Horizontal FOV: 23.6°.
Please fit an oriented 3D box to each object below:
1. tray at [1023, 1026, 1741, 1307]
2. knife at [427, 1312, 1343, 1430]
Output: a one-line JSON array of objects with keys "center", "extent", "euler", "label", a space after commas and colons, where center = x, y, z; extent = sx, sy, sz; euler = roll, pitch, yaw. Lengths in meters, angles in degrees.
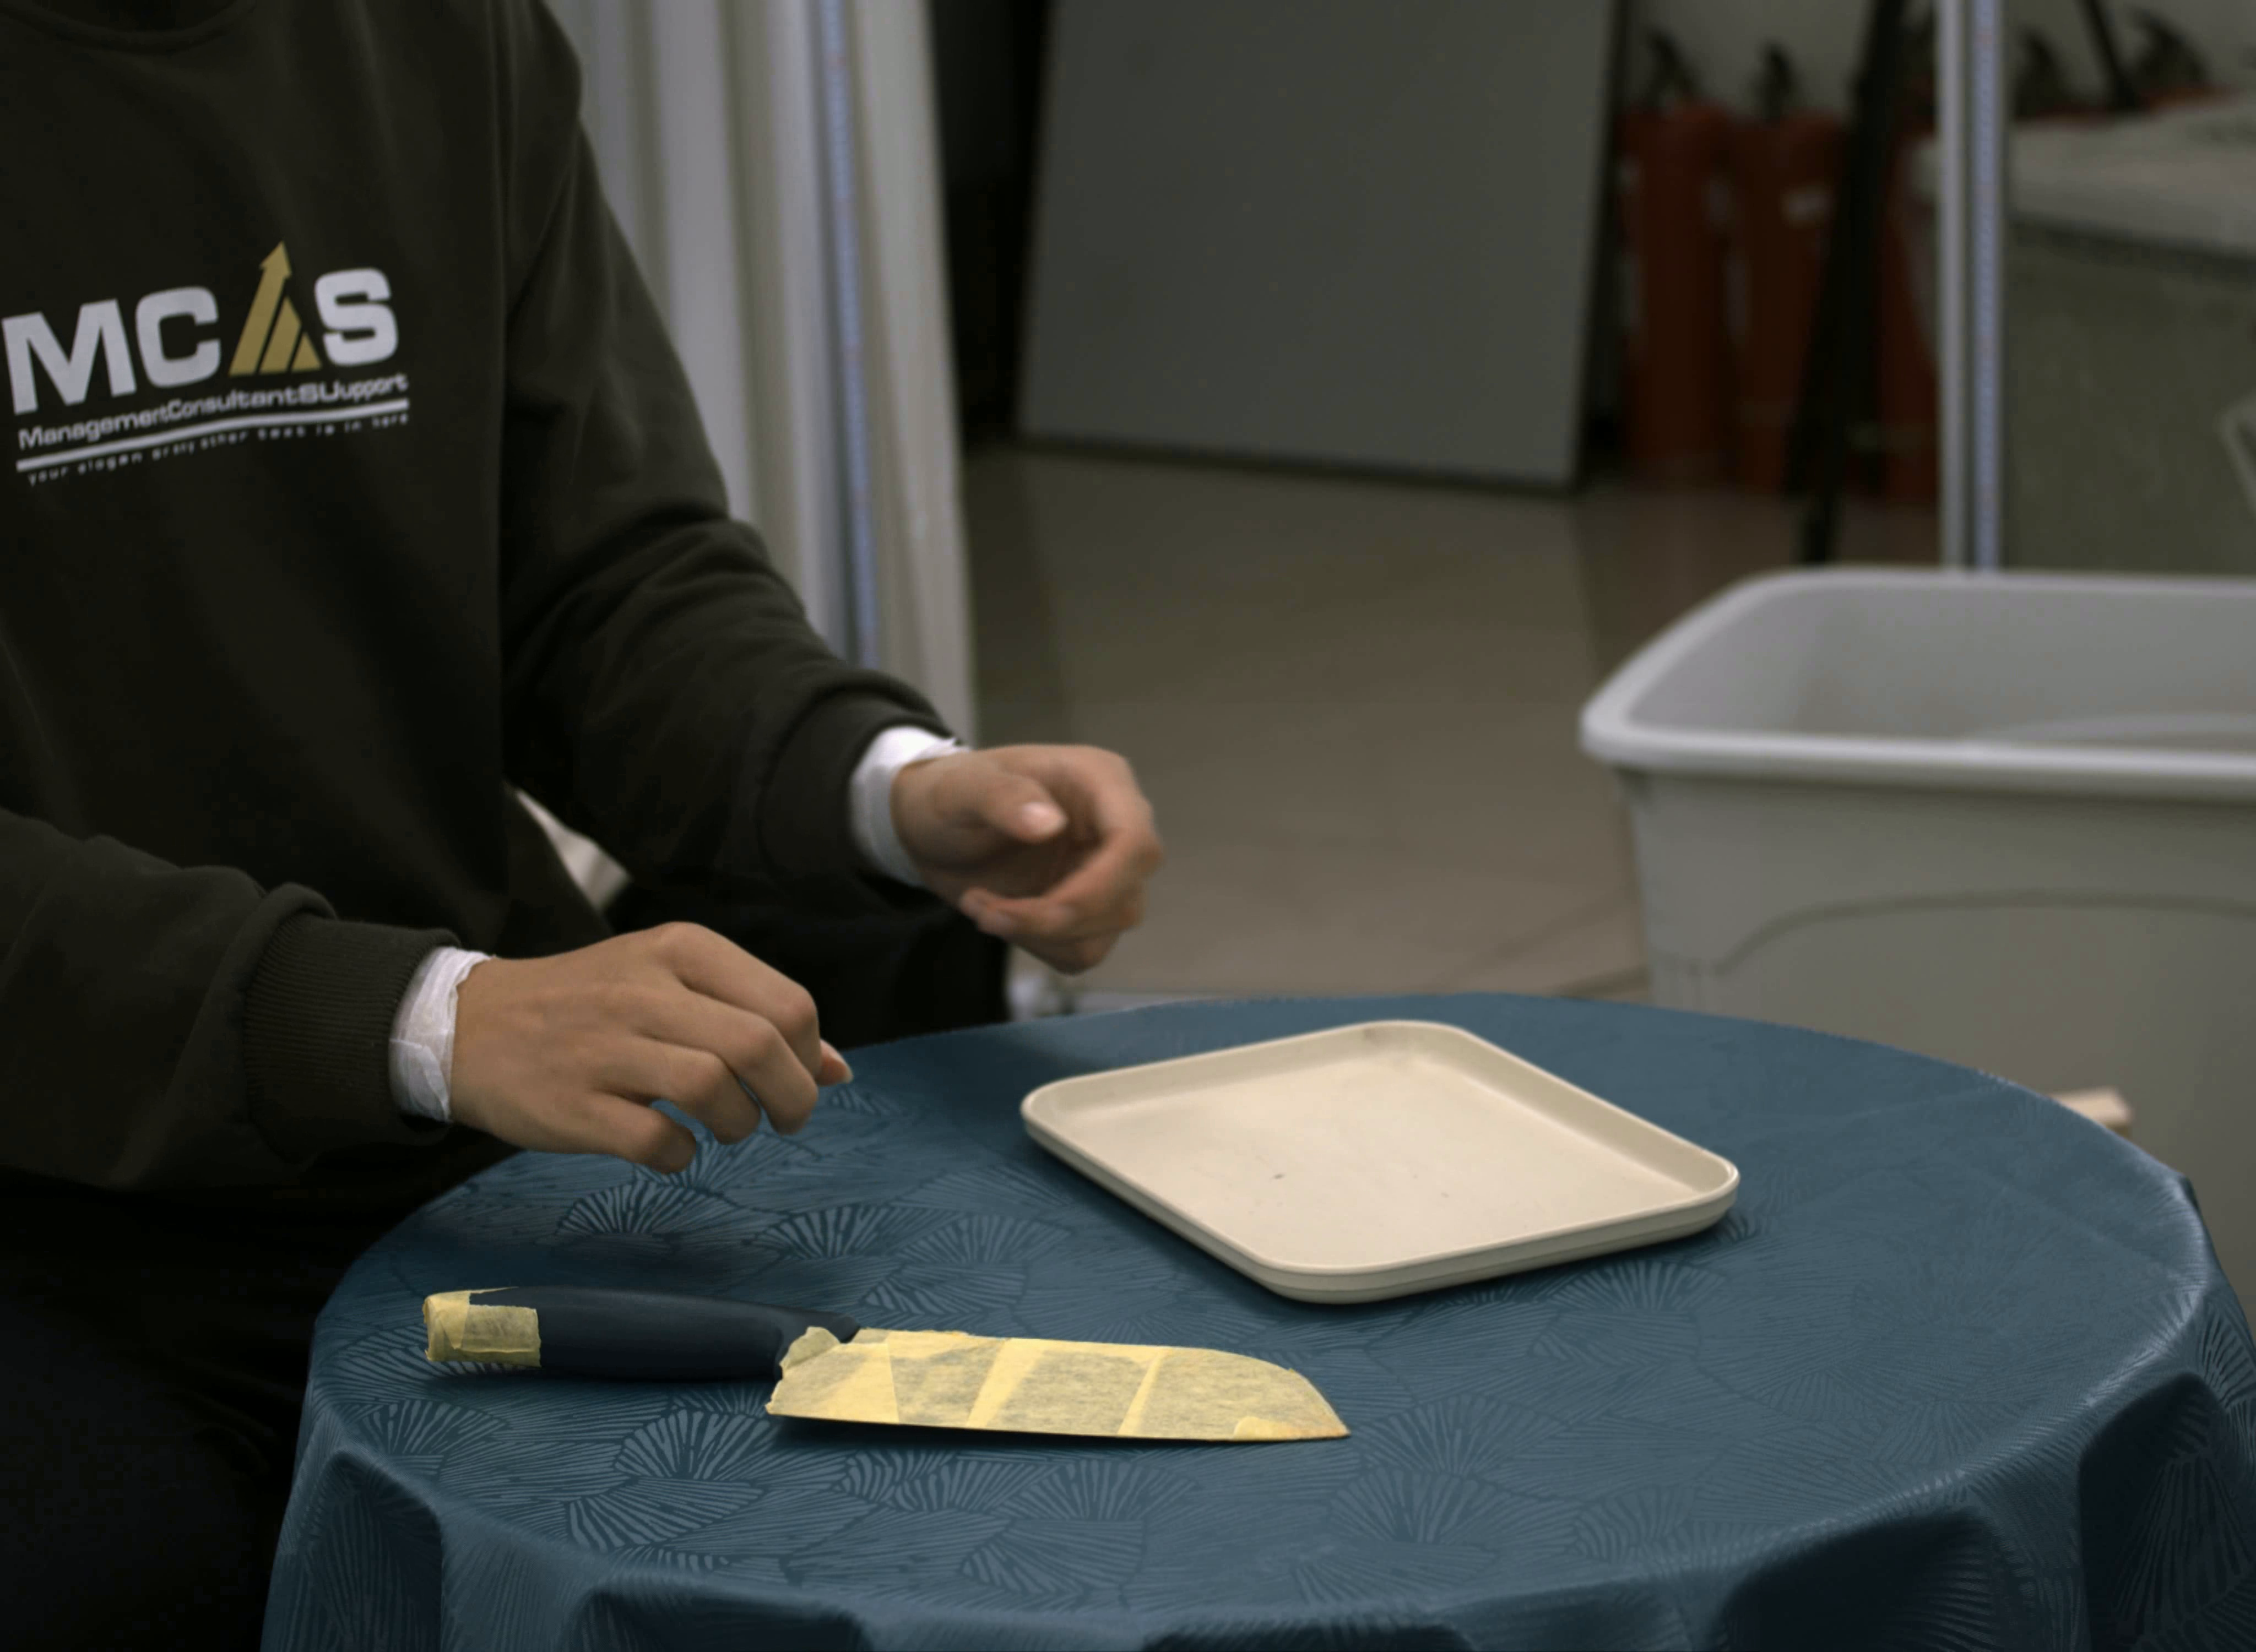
[{"center": [0.080, 0.110, 1.761], "extent": [0.167, 0.017, 0.242], "euler": [-10, 15, -22], "label": "tray"}, {"center": [-0.075, 0.164, 1.590], "extent": [0.288, 0.027, 0.080], "euler": [1, 12, 15], "label": "knife"}]
